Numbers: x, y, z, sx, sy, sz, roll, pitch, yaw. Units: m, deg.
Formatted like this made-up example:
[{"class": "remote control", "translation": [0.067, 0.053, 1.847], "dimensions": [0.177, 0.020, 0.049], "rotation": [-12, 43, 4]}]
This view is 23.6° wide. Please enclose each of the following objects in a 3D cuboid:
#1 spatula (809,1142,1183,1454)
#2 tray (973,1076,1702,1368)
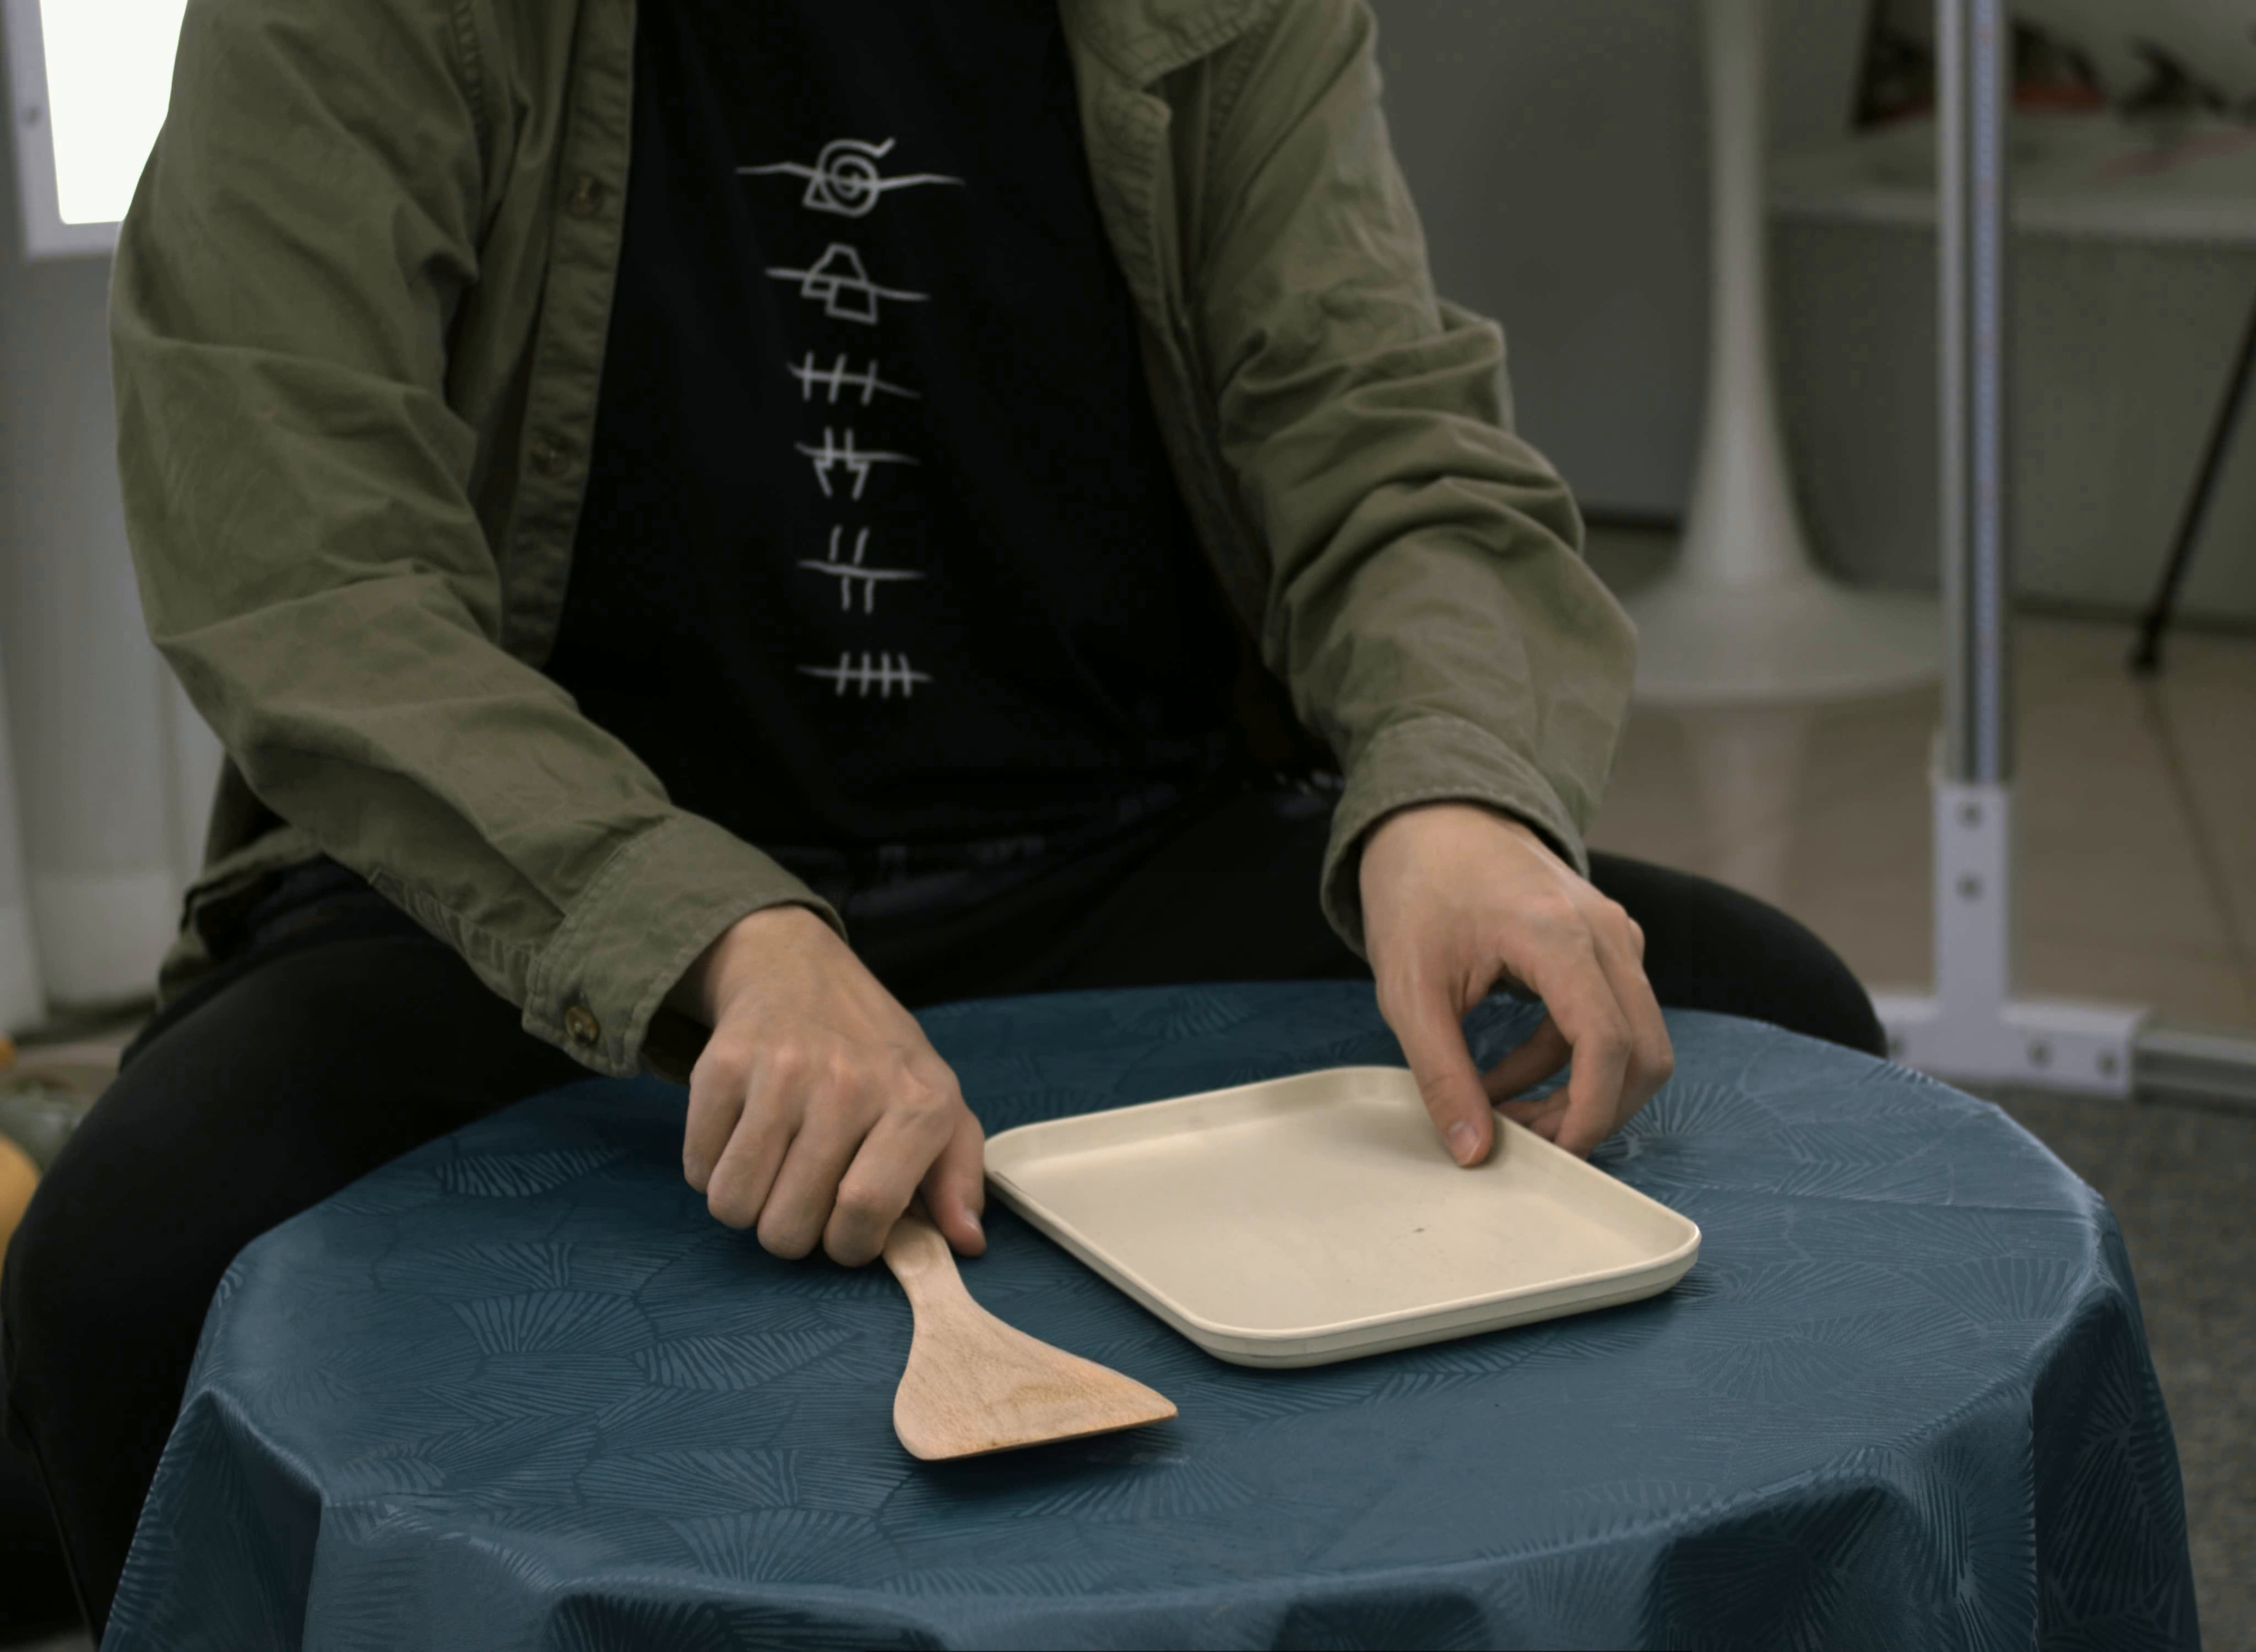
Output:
[{"class": "spatula", "translation": [-0.056, 0.141, 1.669], "dimensions": [0.078, 0.017, 0.330], "rotation": [-7, 14, -13]}, {"class": "tray", "translation": [0.063, 0.124, 1.704], "dimensions": [0.168, 0.017, 0.242], "rotation": [-9, 14, -20]}]
